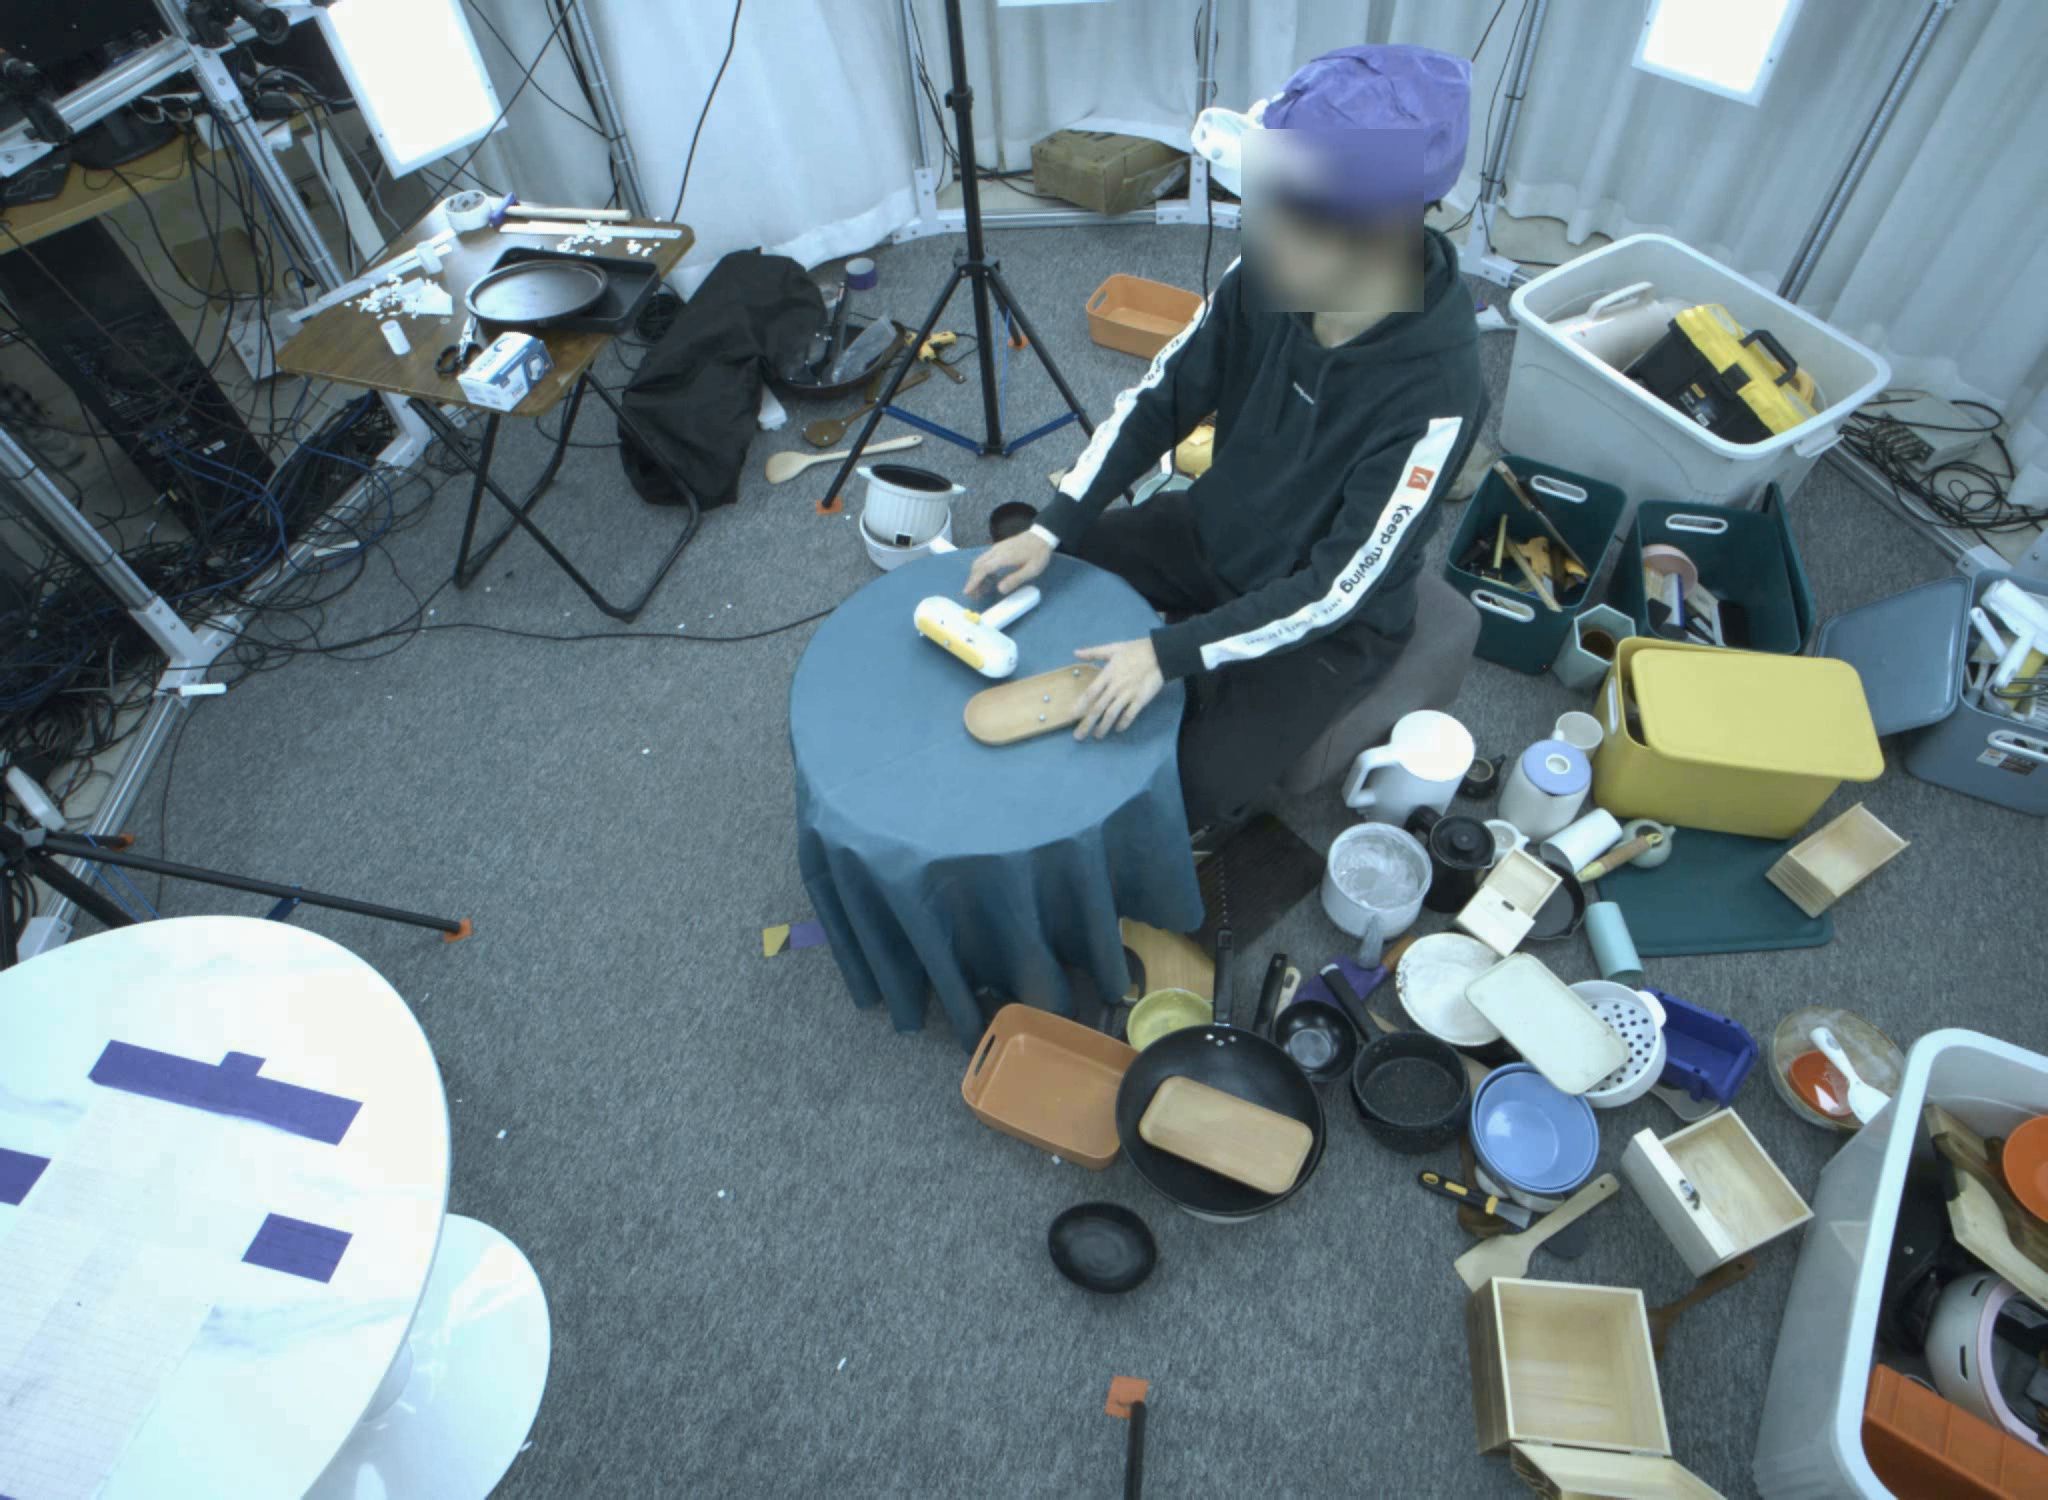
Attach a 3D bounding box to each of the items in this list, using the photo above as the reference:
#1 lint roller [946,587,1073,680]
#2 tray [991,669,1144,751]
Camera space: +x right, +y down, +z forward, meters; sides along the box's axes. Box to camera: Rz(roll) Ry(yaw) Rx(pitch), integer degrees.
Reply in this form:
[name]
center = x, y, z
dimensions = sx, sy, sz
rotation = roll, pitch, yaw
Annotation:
[lint roller]
center = 0.002, -0.195, 1.892
dimensions = 0.189, 0.074, 0.195
rotation = 31, 42, 29
[tray]
center = 0.064, -0.059, 1.812
dimensions = 0.232, 0.020, 0.100
rotation = -16, 55, -8
